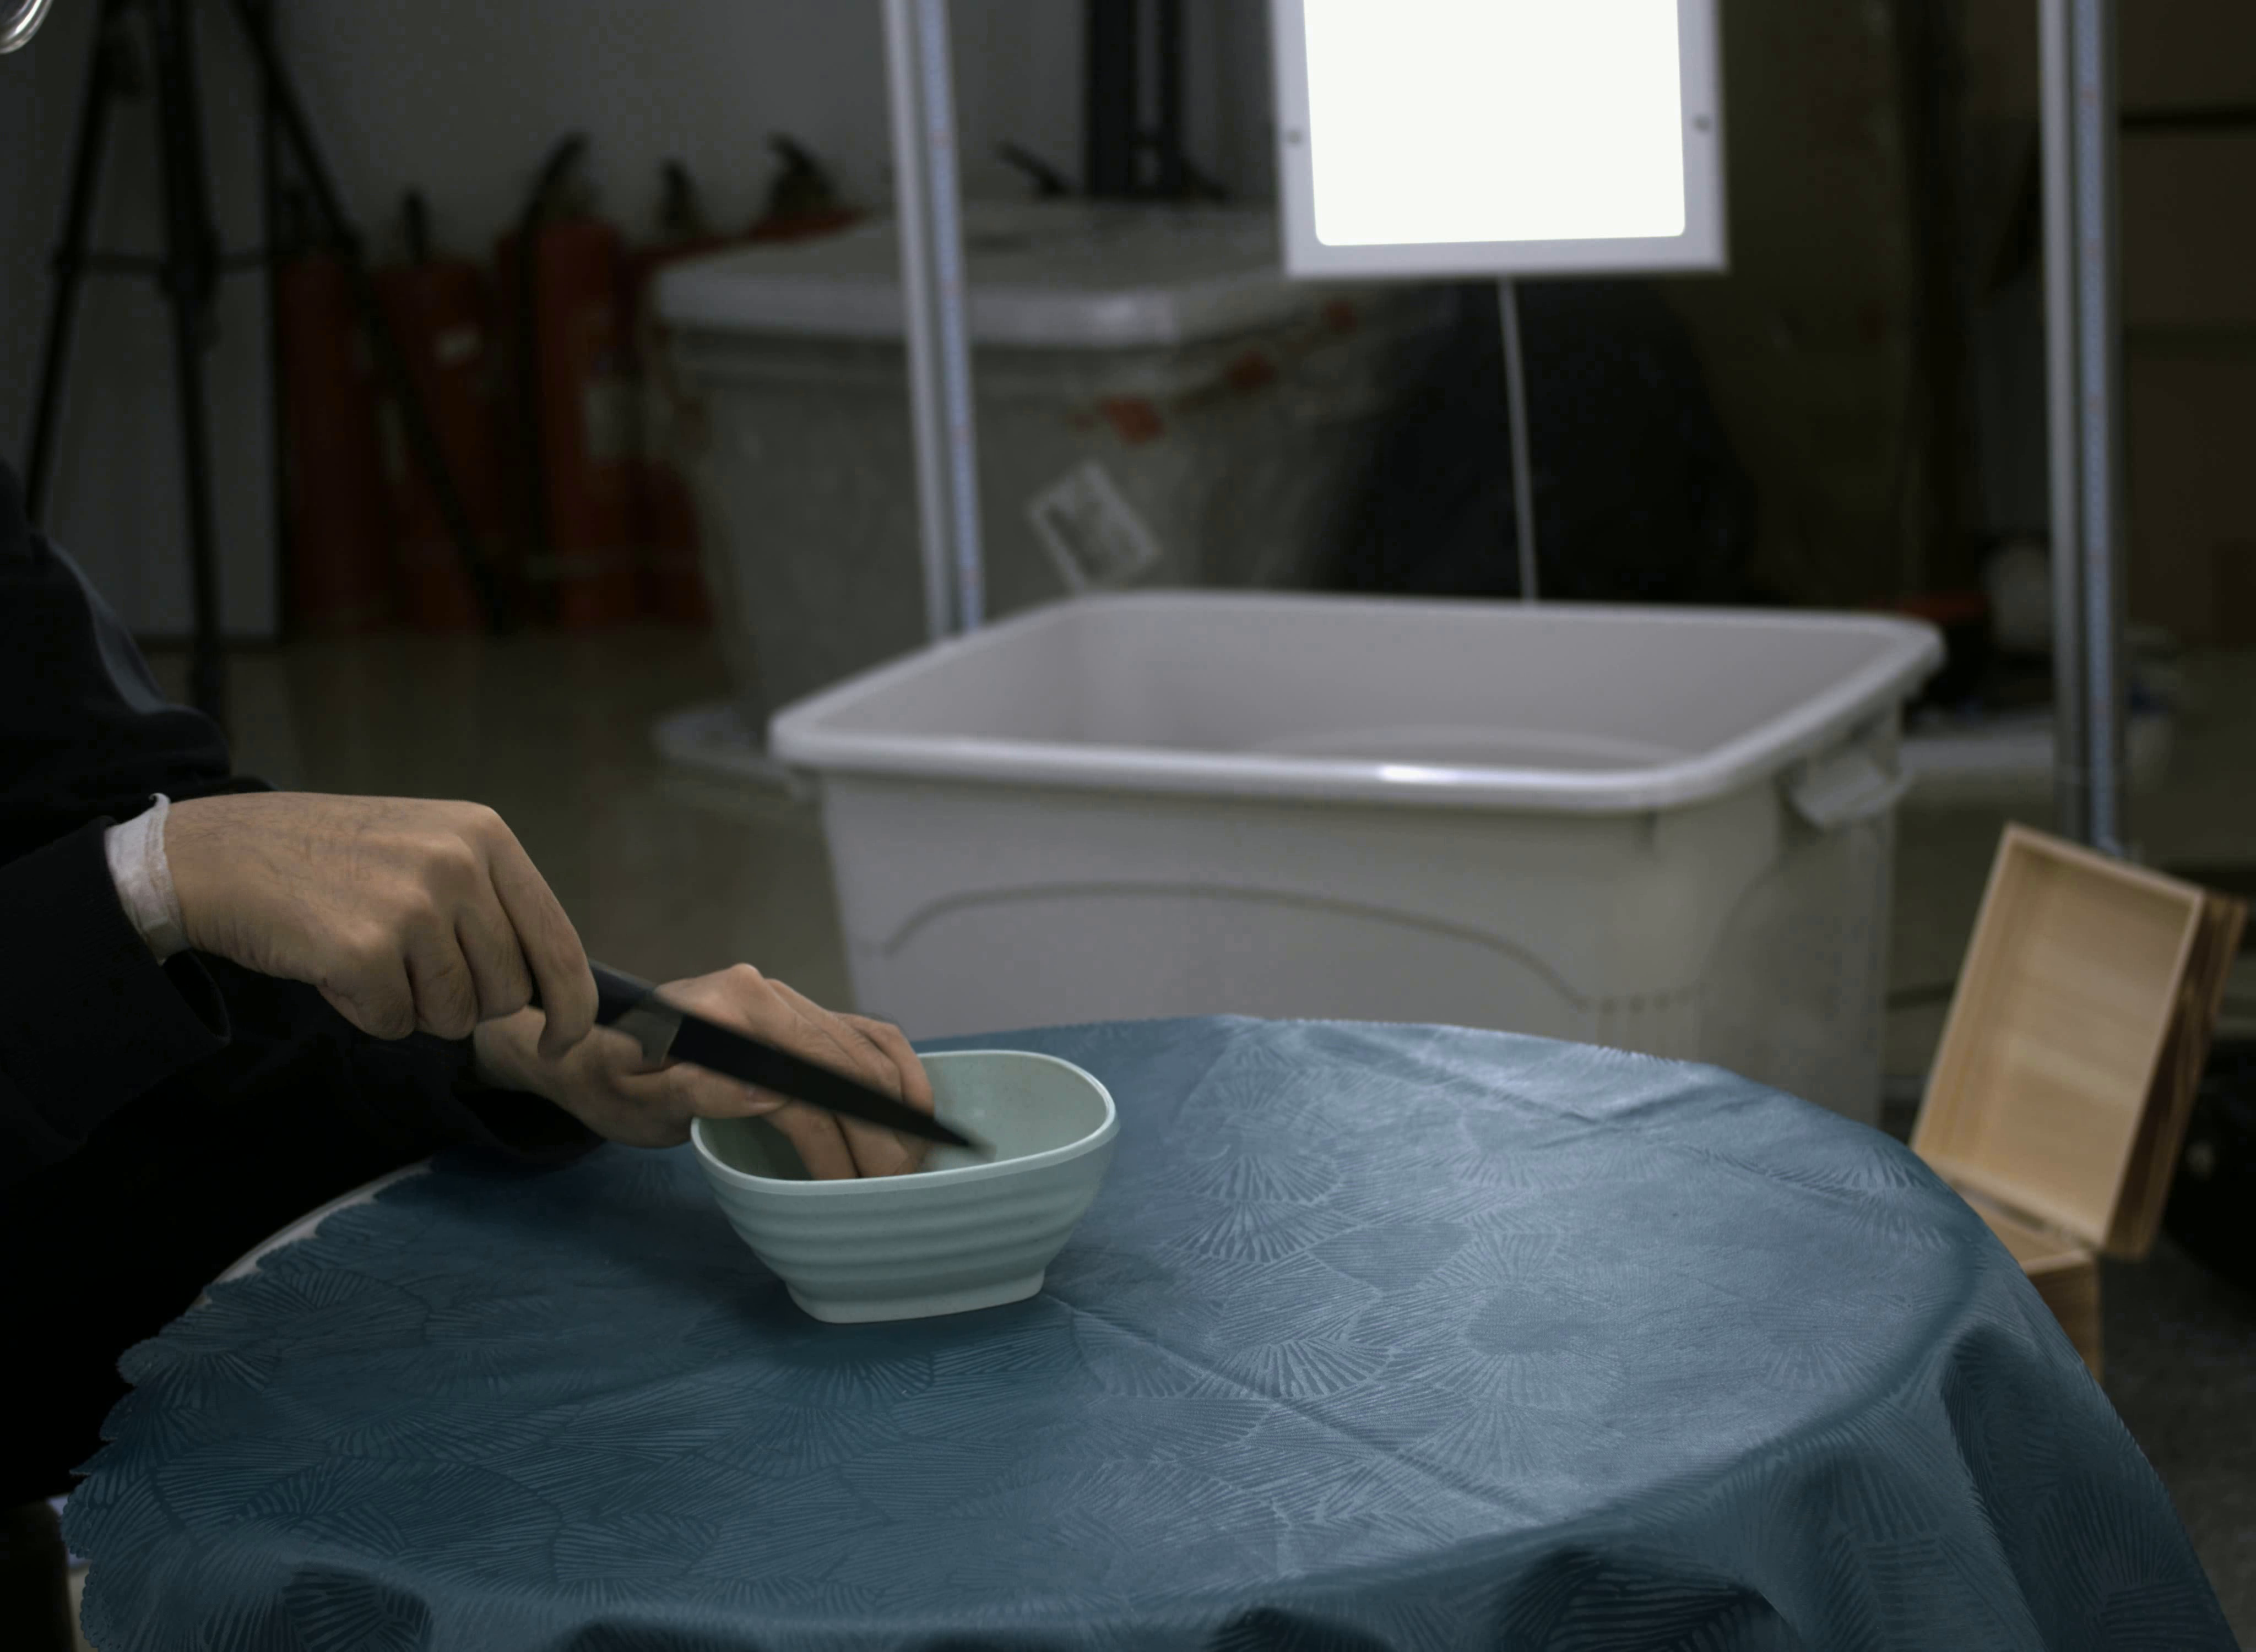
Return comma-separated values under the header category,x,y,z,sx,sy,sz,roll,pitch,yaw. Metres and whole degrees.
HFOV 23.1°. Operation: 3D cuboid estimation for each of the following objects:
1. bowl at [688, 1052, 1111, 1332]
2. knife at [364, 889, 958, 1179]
category,x,y,z,sx,sy,sz,roll,pitch,yaw
bowl,-0.073,0.124,1.821,0.151,0.059,0.151,-5,15,0
knife,-0.144,0.072,1.775,0.223,0.026,0.017,25,32,-12
